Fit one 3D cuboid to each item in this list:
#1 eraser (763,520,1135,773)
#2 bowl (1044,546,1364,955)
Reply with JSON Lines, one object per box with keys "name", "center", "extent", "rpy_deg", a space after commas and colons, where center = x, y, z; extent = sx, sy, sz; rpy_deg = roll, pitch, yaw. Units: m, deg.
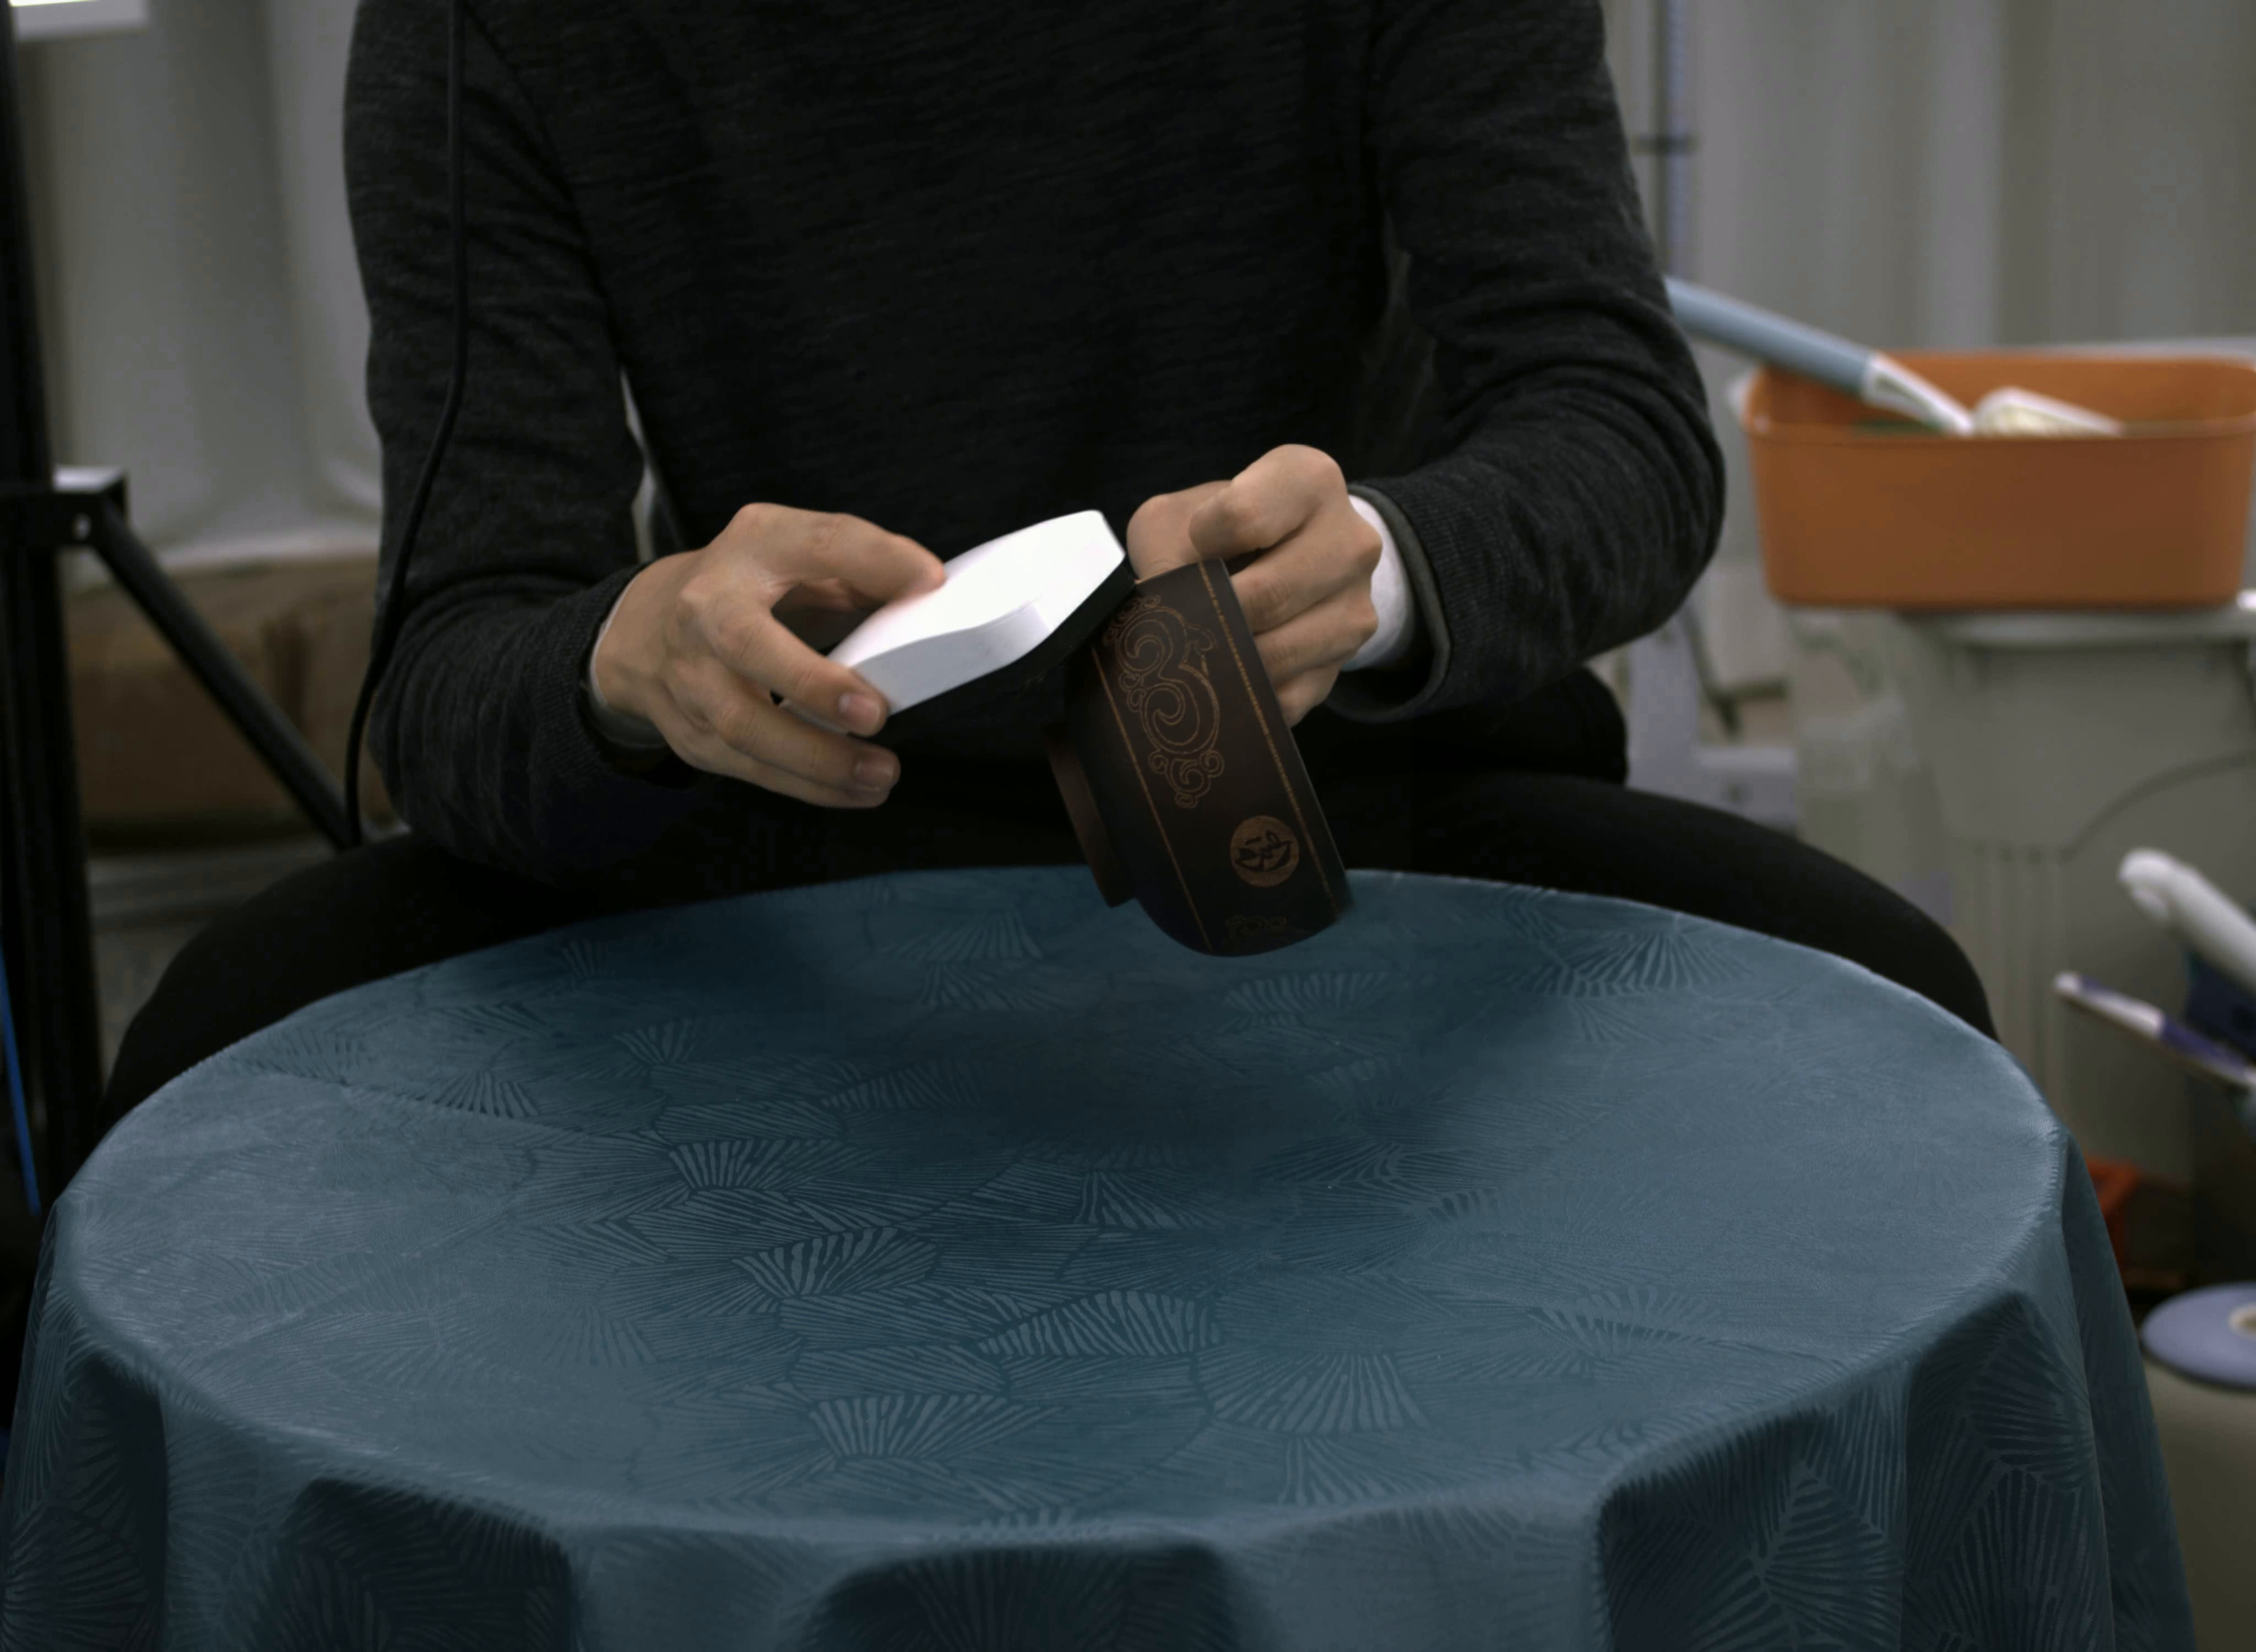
{"name": "eraser", "center": [-0.054, -0.055, 1.574], "extent": [0.133, 0.034, 0.063], "rpy_deg": [-19, 22, 52]}
{"name": "bowl", "center": [0.017, -0.016, 1.559], "extent": [0.069, 0.117, 0.119], "rpy_deg": [-22, 16, 1]}
